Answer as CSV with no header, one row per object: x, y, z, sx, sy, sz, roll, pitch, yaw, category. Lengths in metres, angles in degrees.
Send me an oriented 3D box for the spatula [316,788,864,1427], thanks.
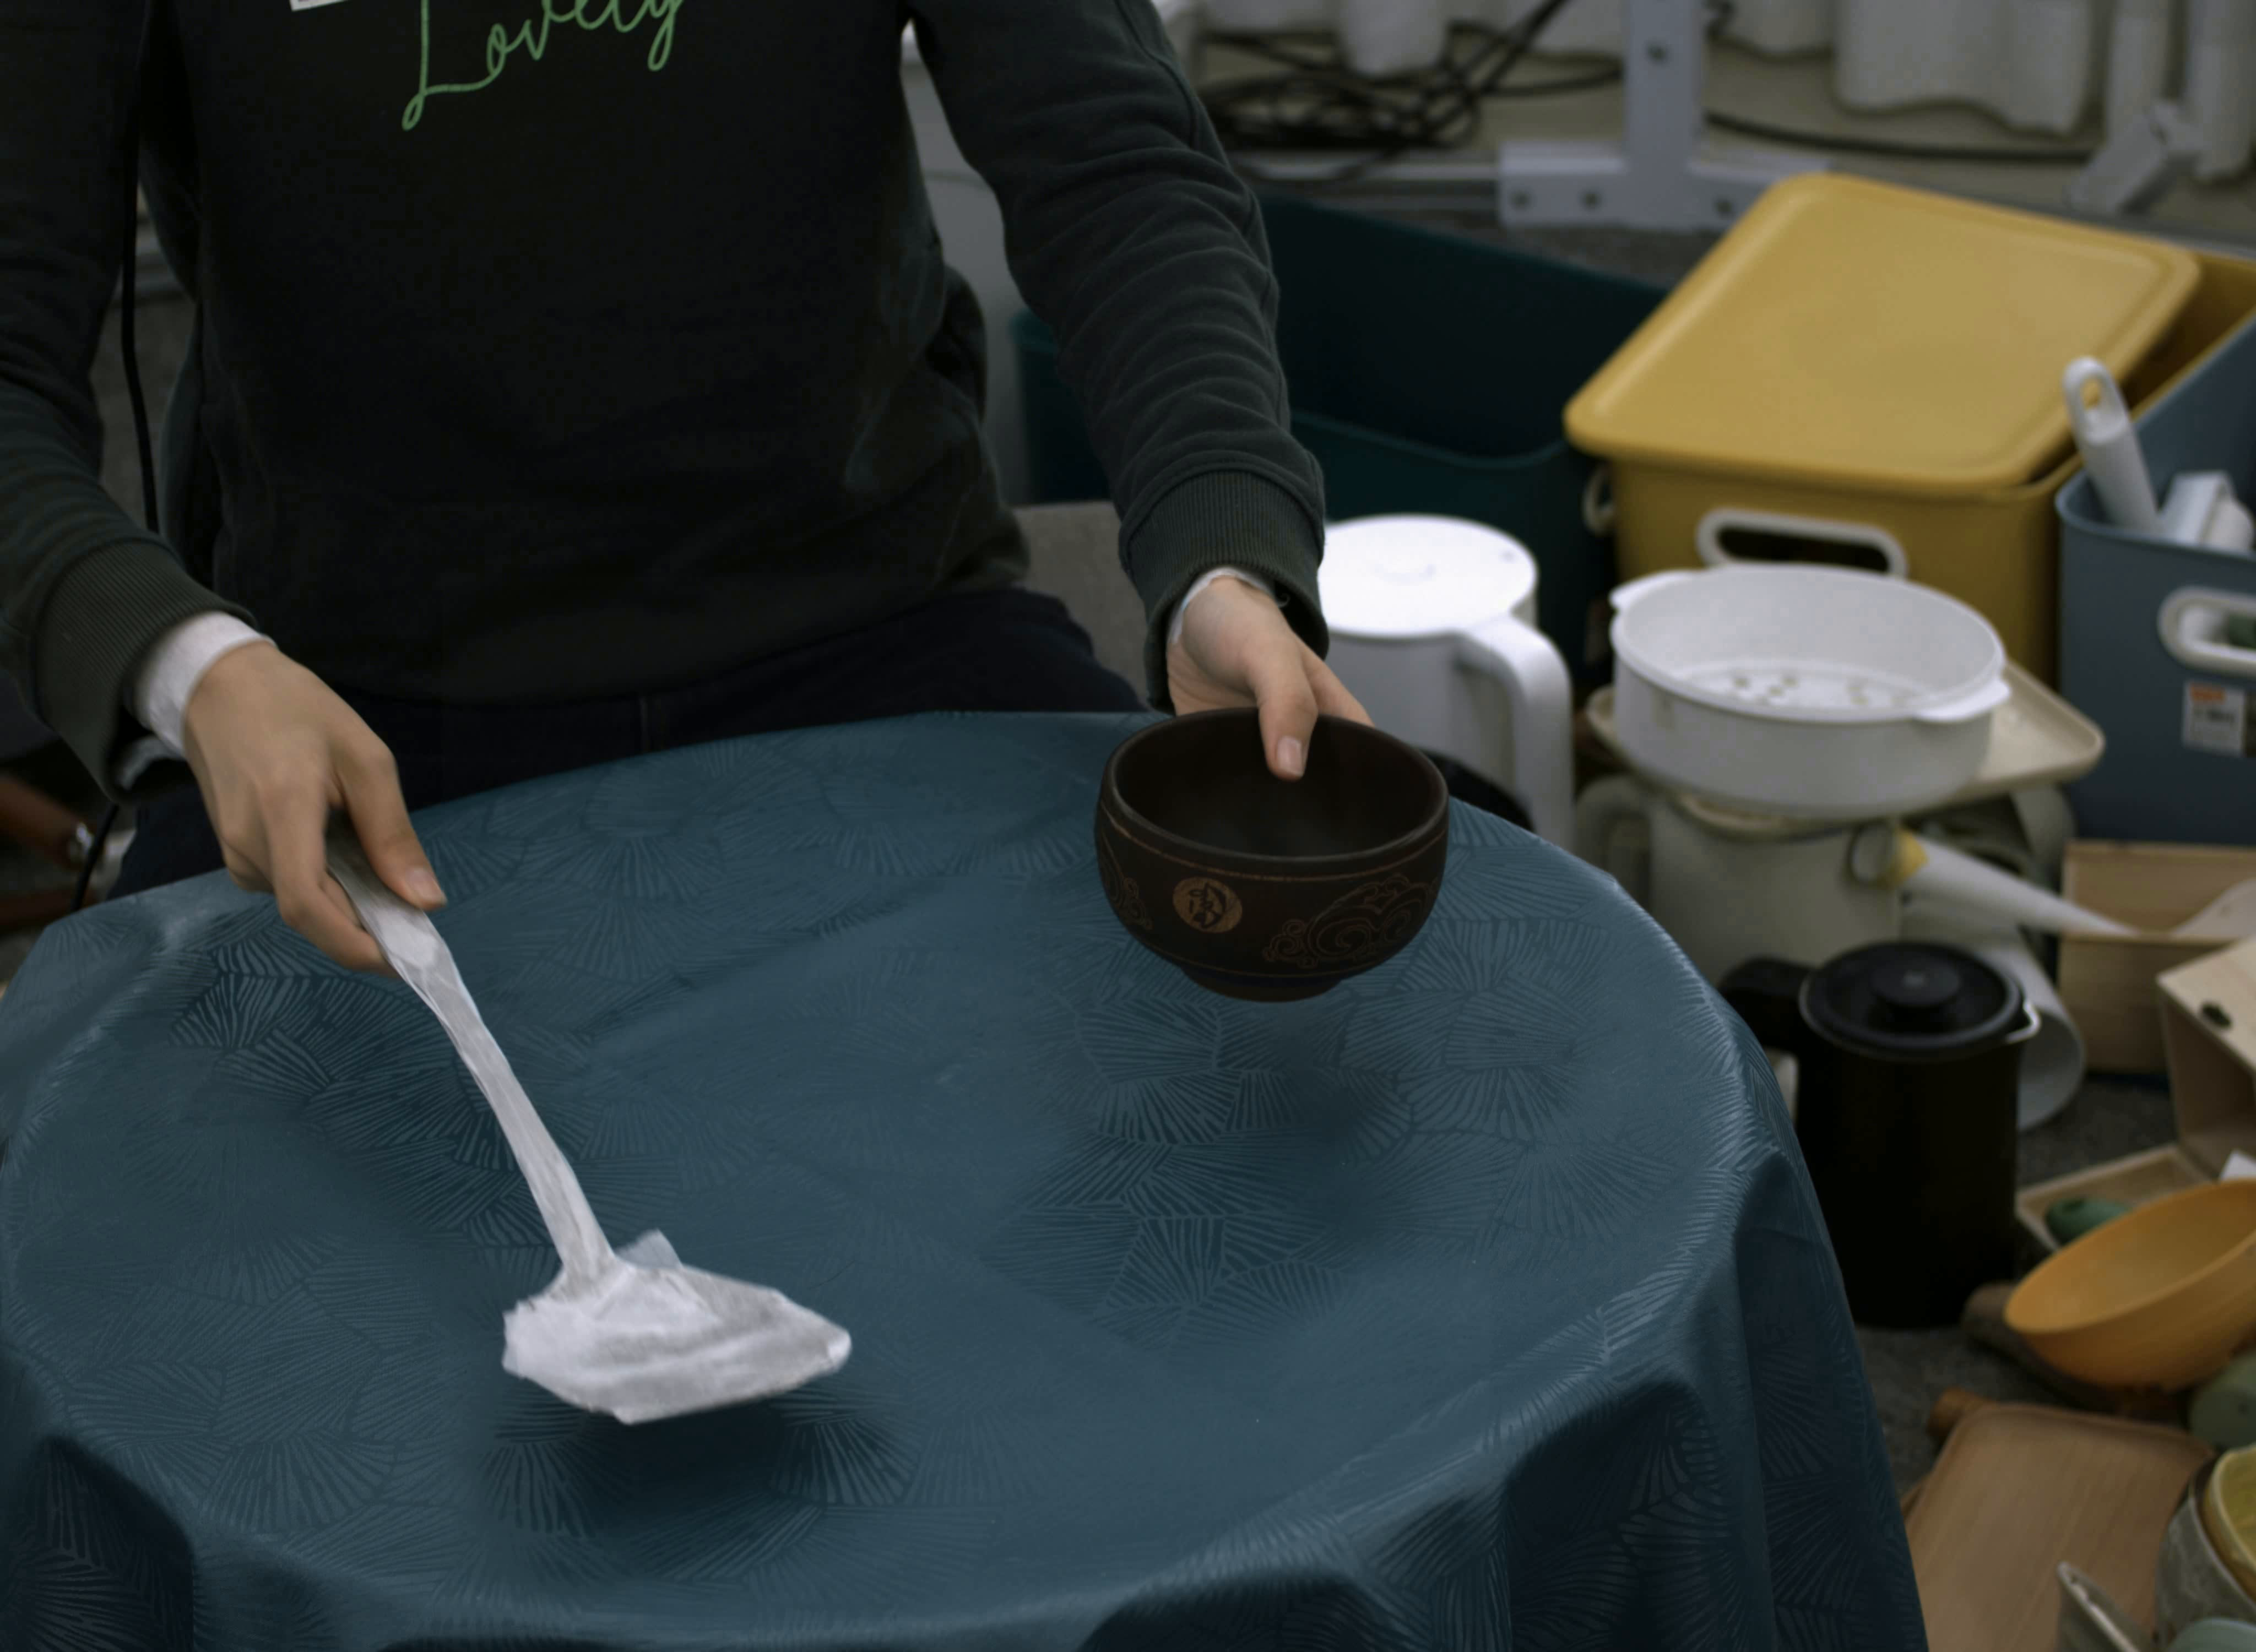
-0.198,0.082,1.821,0.099,0.044,0.369,-10,42,-26,spatula

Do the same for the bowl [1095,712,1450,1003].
0.046,0.016,1.869,0.117,0.069,0.119,4,23,-1,bowl
